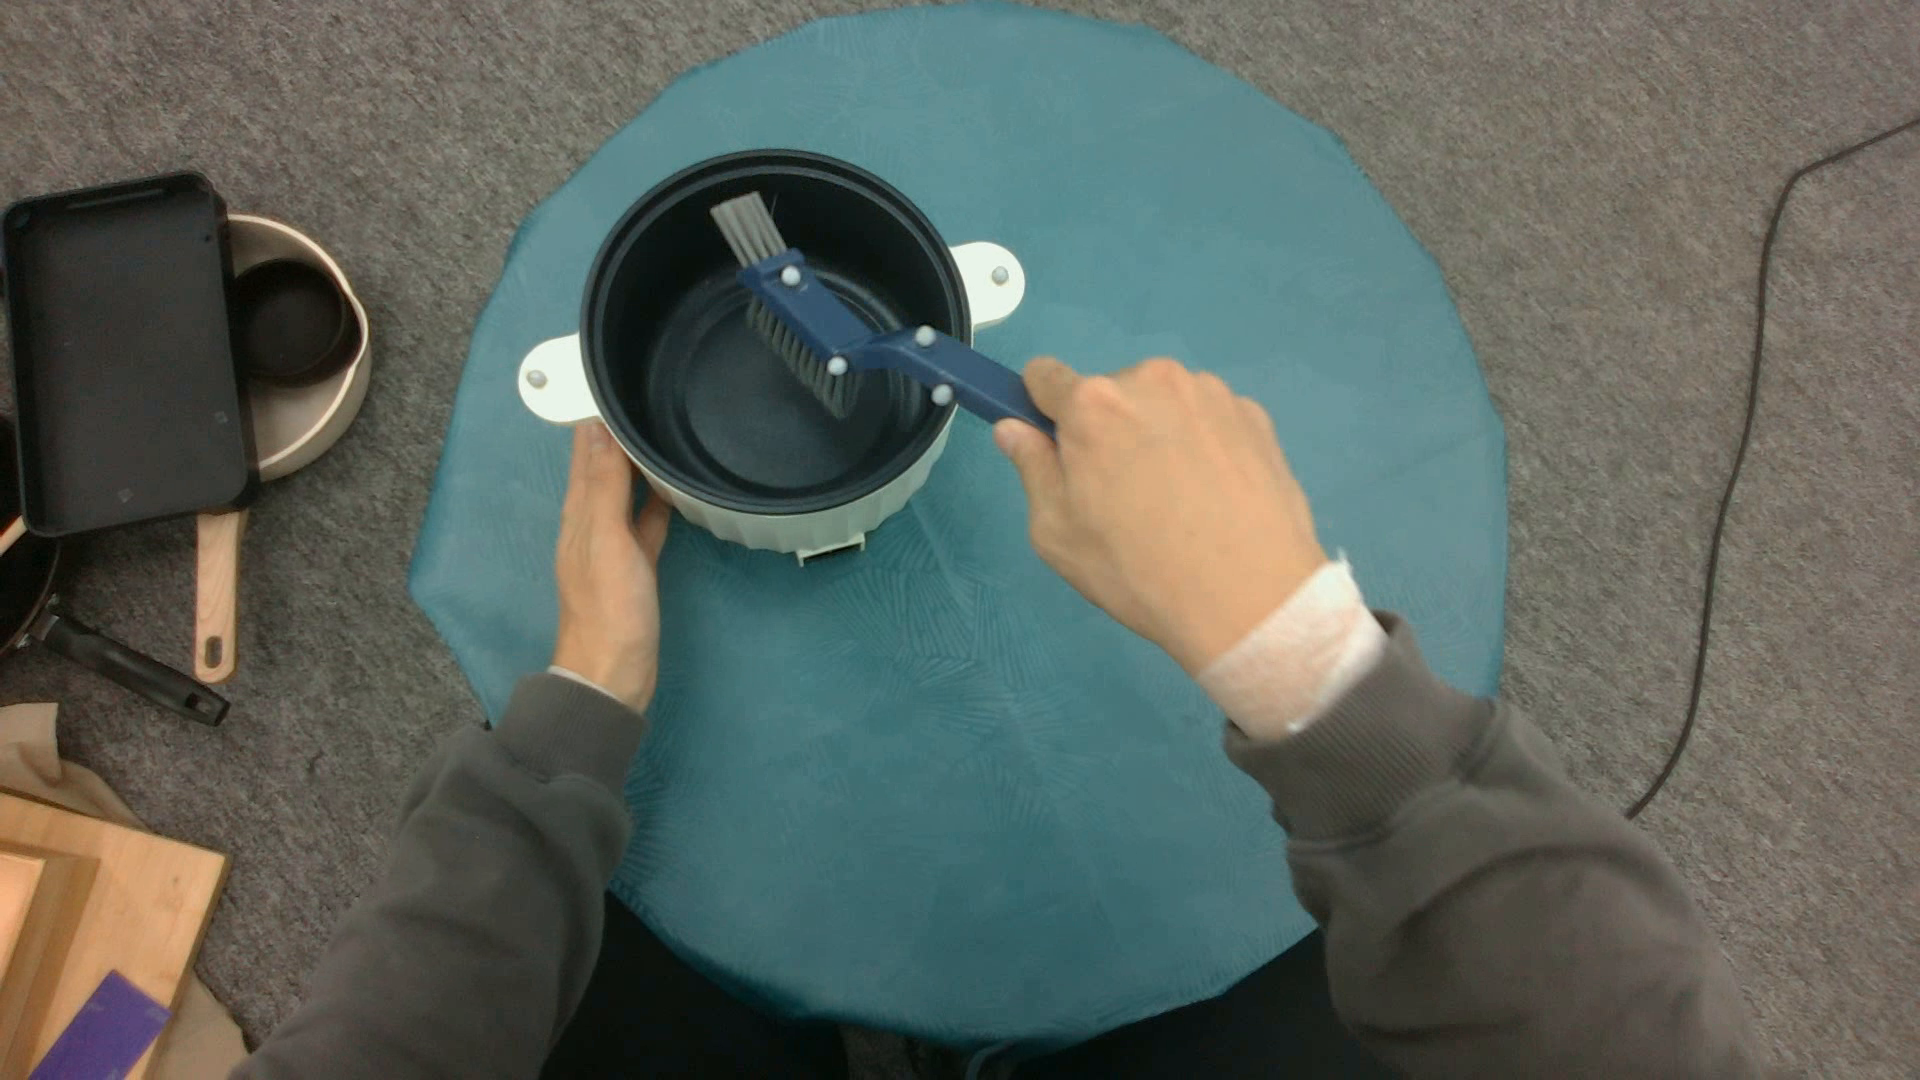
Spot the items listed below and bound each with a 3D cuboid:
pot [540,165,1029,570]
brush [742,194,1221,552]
[{"bbox_3d":[-0.089,-0.087,0.720,0.241,0.142,0.190,-15,83,-9],"label":"pot"},{"bbox_3d":[-0.005,-0.075,0.587,0.033,0.095,0.273,-26,38,-36],"label":"brush"}]
